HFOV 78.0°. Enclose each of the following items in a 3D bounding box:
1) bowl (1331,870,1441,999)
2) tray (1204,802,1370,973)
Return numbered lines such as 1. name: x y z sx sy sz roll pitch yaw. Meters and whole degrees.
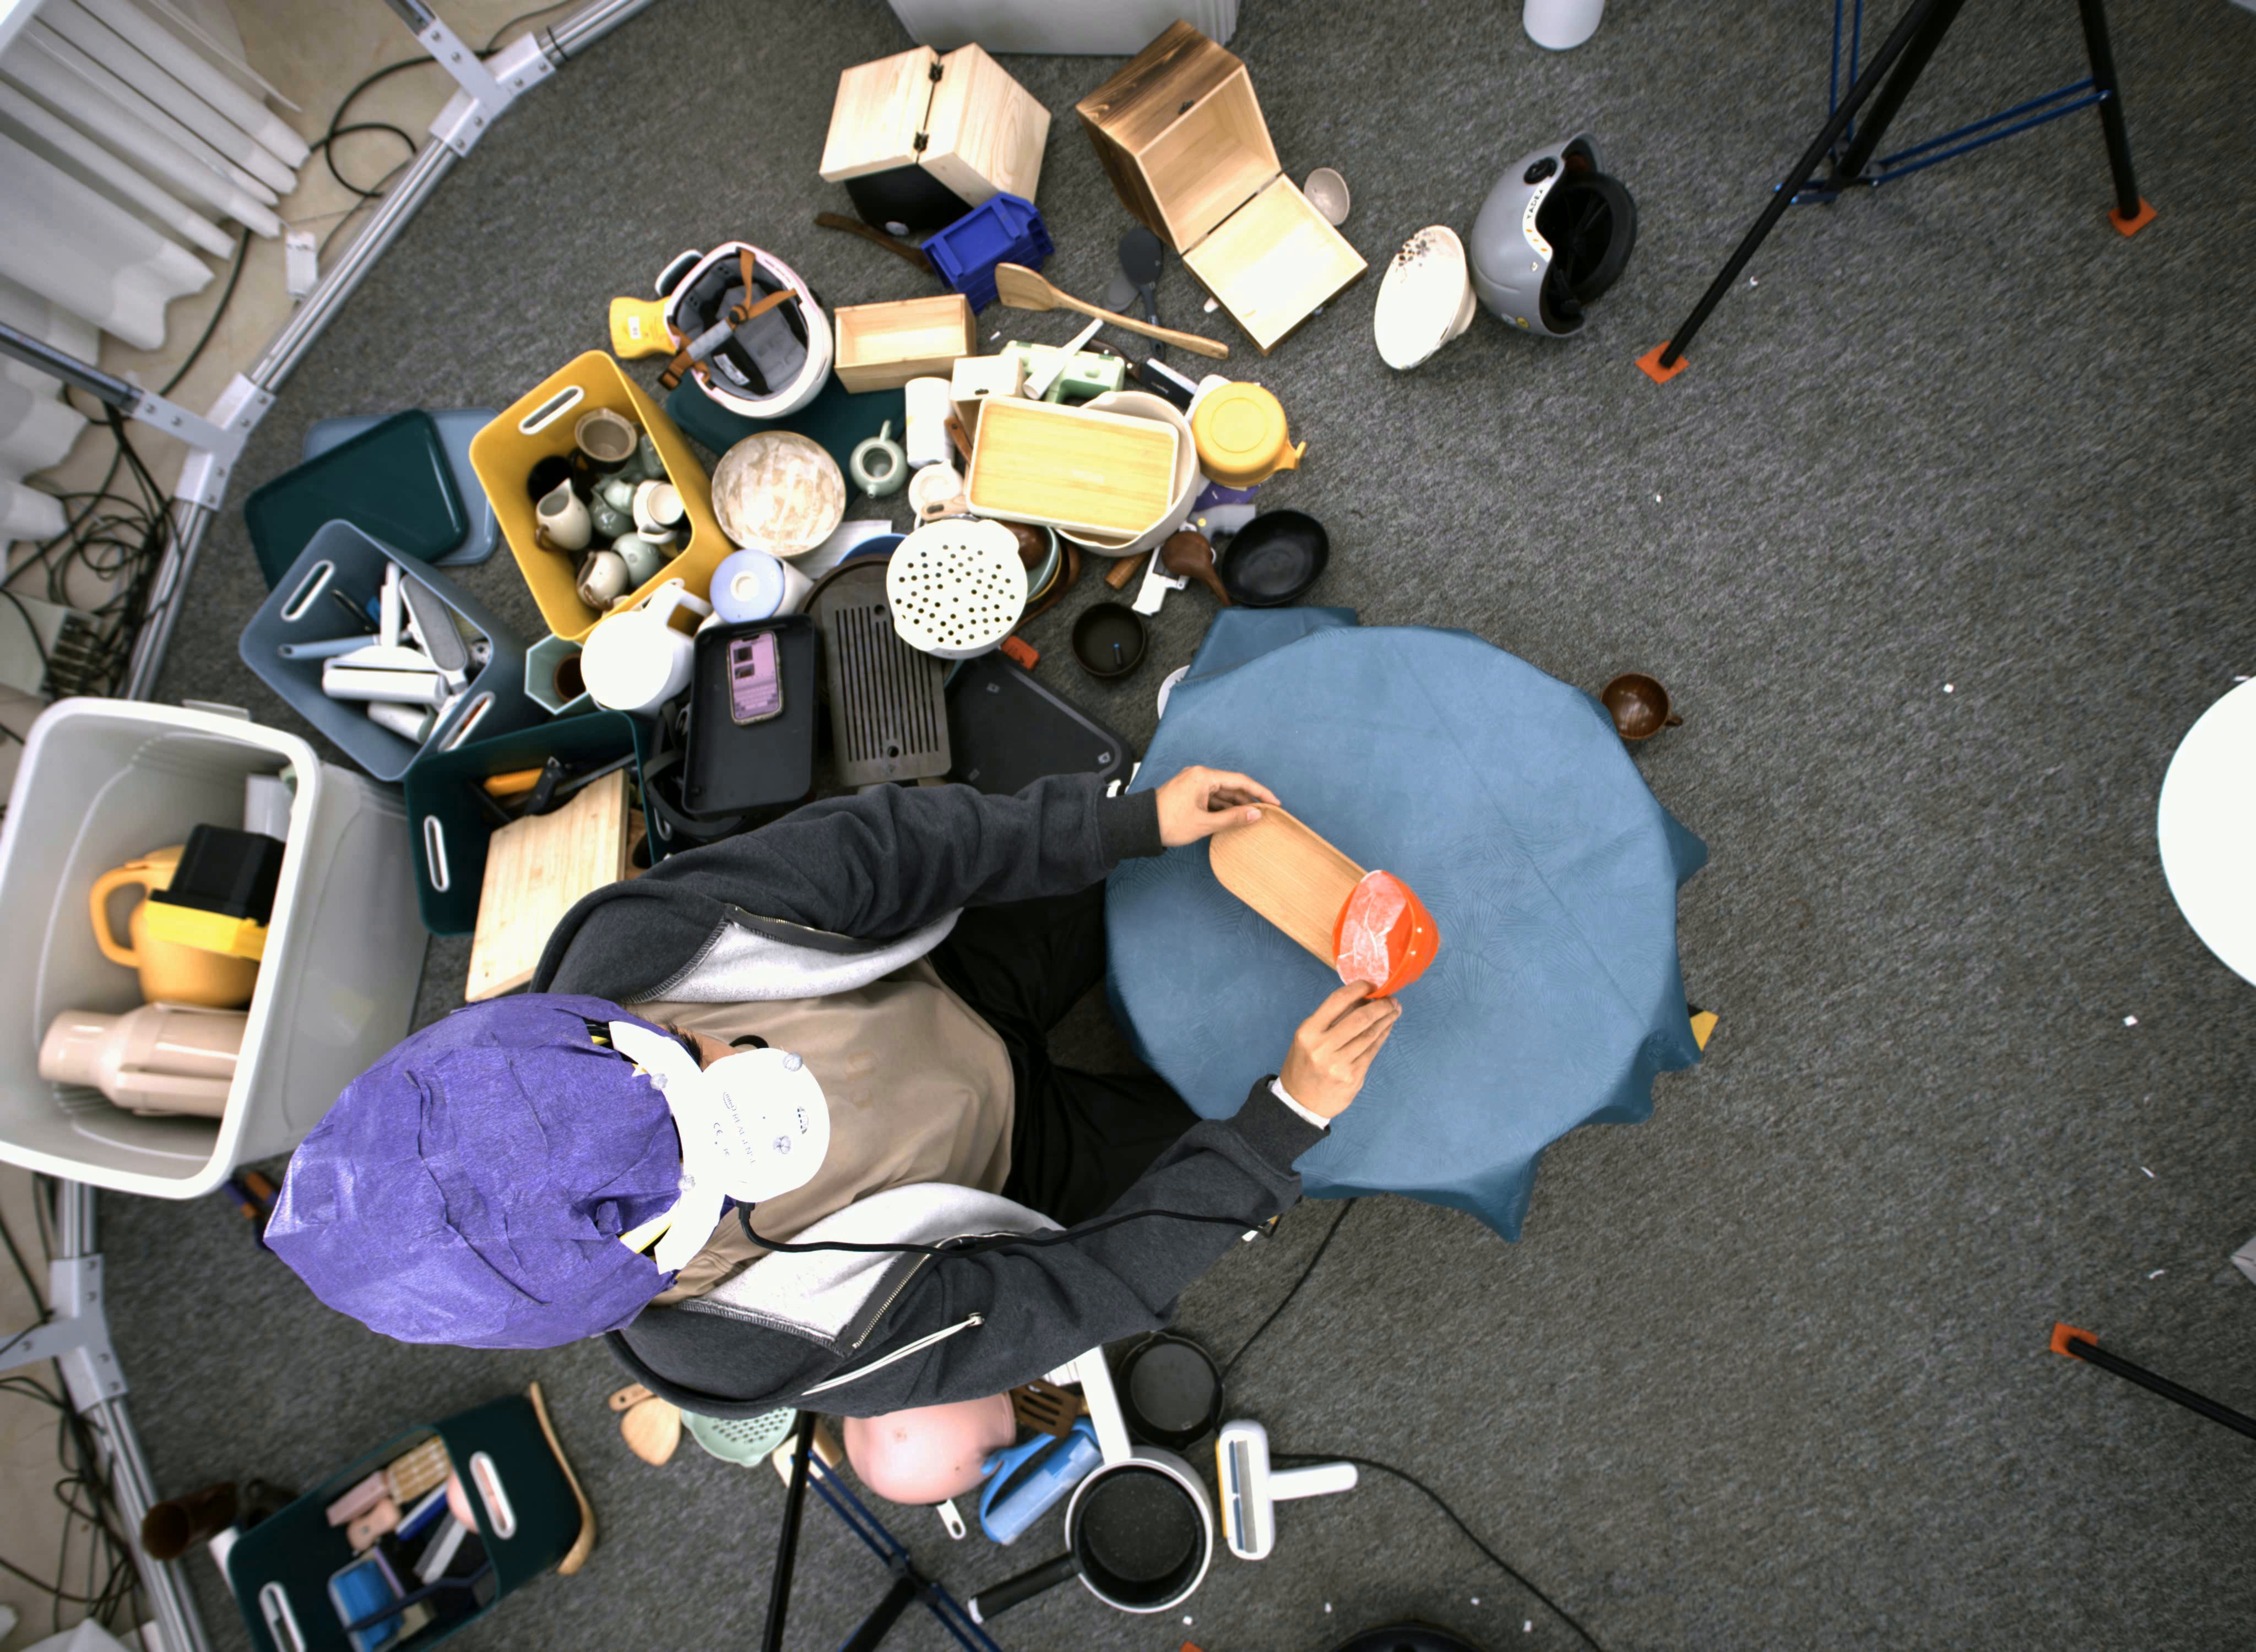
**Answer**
1. bowl: 0.241 0.102 1.264 0.051 0.119 0.118 13 87 -29
2. tray: 0.182 0.064 1.415 0.231 0.020 0.102 35 92 3
